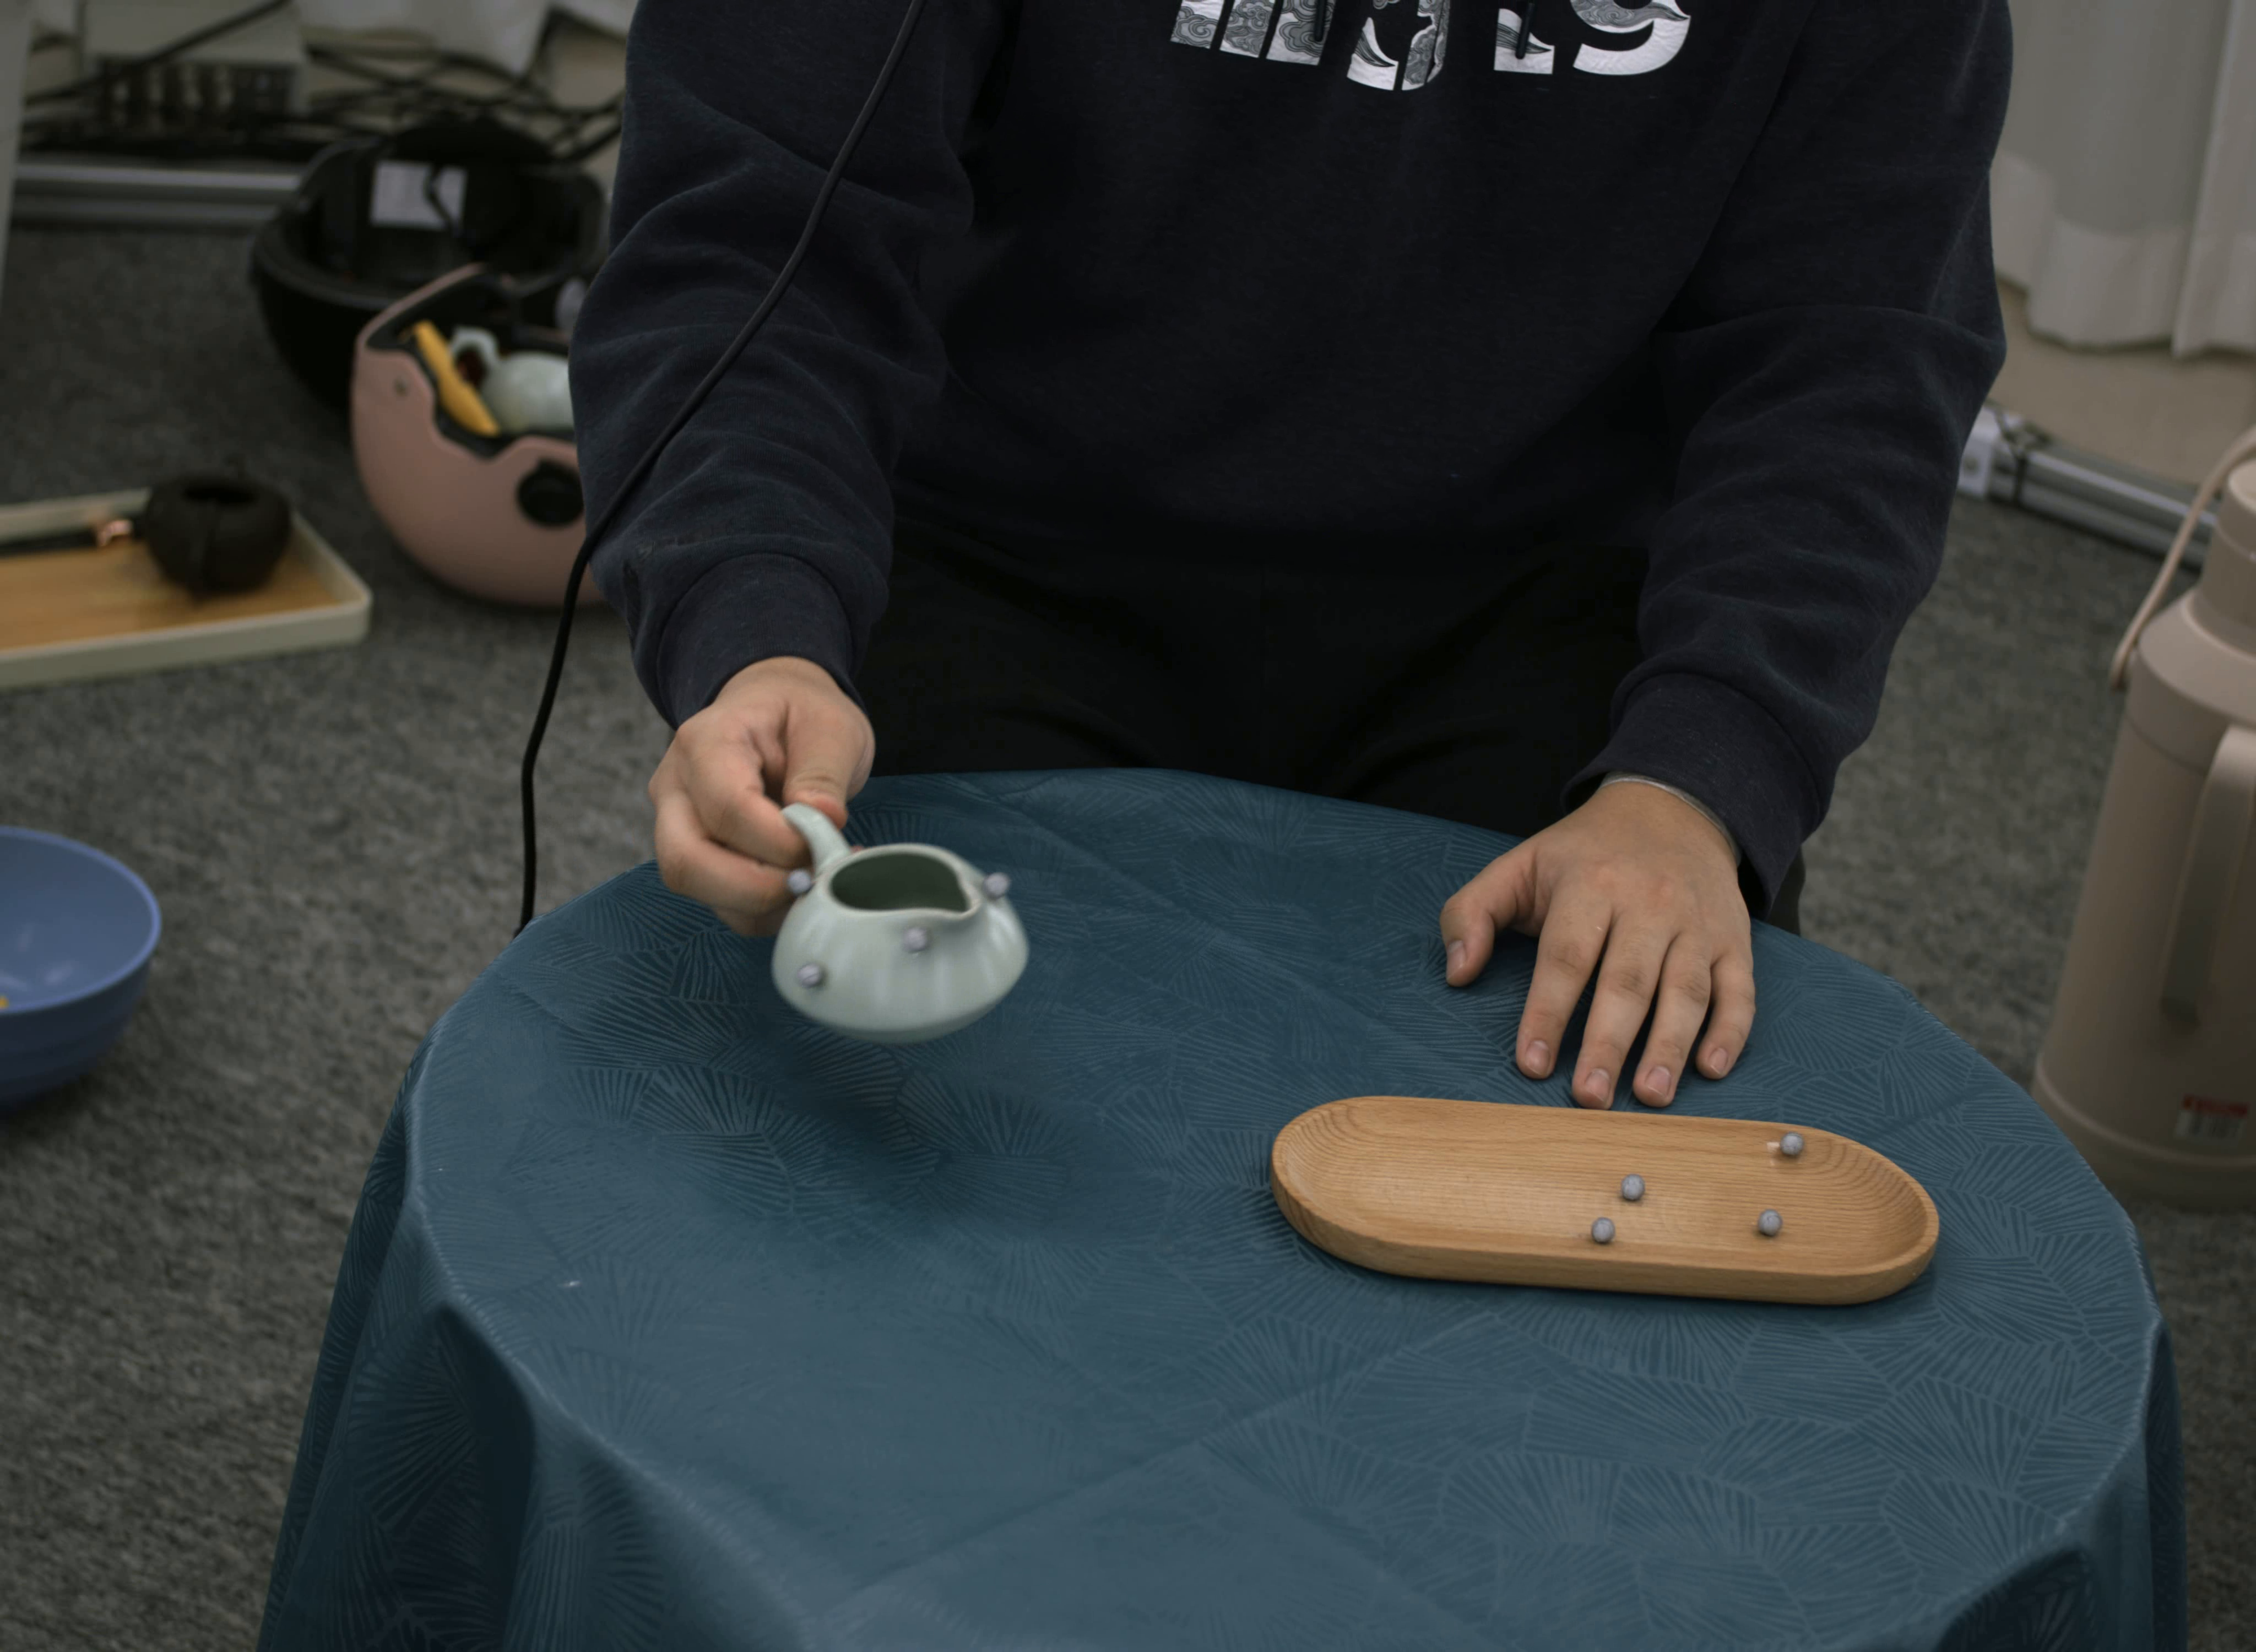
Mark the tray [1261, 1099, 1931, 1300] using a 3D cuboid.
[{"bbox_3d":[0.160,0.128,1.818,0.230,0.020,0.102,2,26,-5],"label":"tray"}]

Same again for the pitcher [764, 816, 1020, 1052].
[{"bbox_3d":[-0.088,0.037,1.809,0.085,0.060,0.109,-26,34,-35],"label":"pitcher"}]
